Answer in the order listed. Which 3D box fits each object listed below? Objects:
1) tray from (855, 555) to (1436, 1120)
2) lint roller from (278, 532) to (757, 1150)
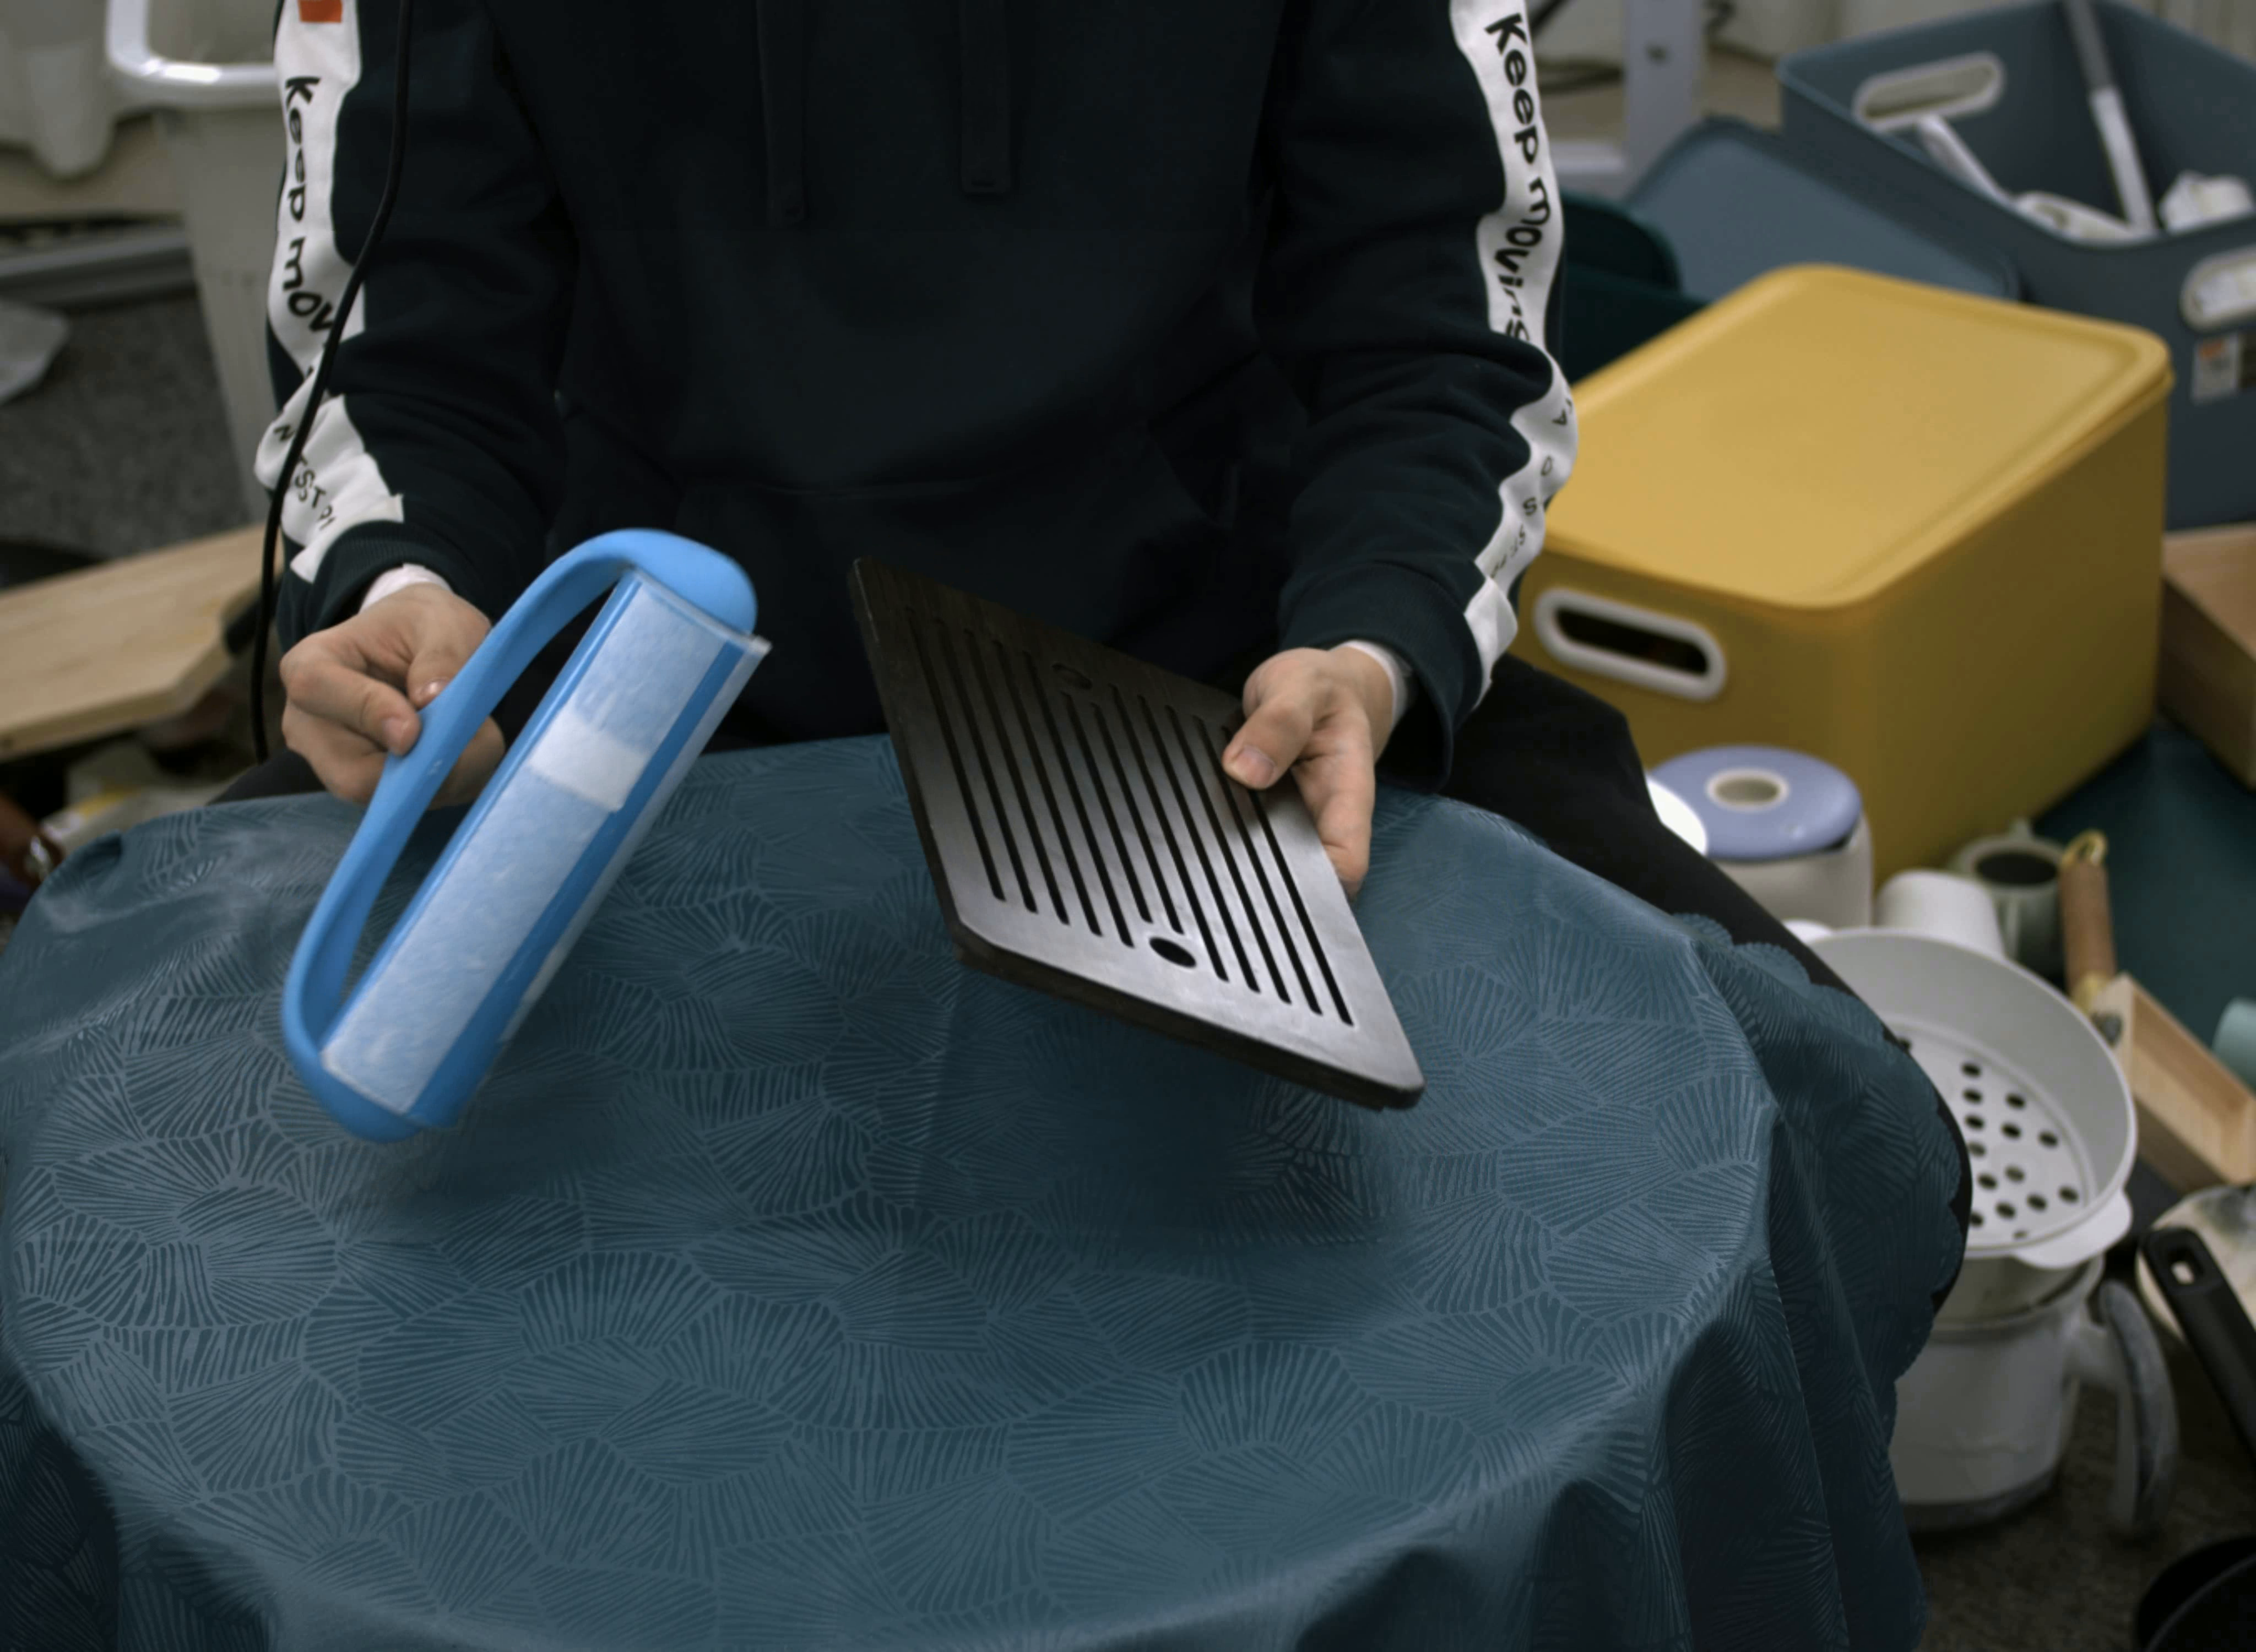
[{"bbox_3d":[-0.002,0.003,1.910,0.169,0.018,0.309,21,21,-19],"label":"tray"},{"bbox_3d":[-0.222,-0.010,1.908,0.067,0.229,0.181,31,1,-31],"label":"lint roller"}]
